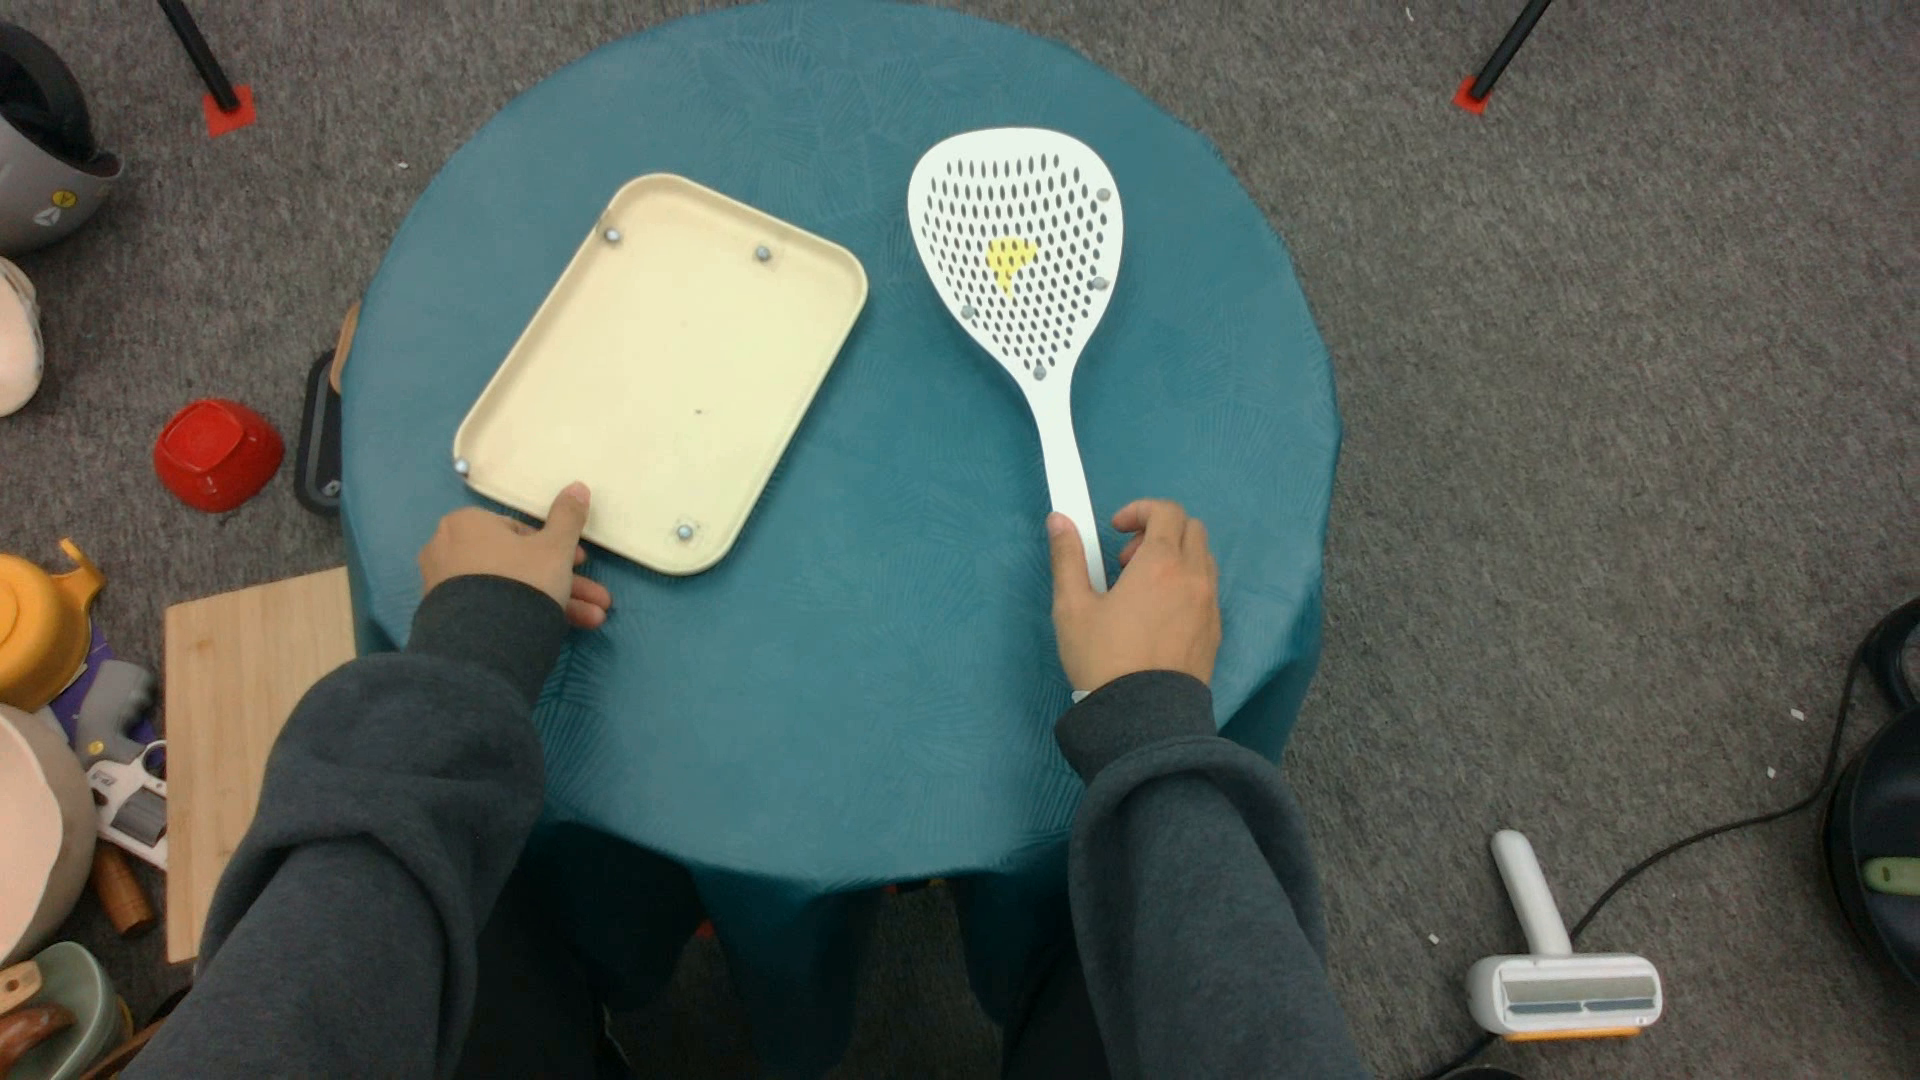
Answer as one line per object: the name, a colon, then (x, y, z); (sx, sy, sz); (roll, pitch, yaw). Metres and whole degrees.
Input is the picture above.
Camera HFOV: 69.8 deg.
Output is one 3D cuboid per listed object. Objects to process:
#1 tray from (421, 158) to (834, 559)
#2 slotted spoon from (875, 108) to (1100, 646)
tray: (-0.191, -0.112, 0.817); (0.171, 0.017, 0.240); (24, 67, 2)
slotted spoon: (0.035, -0.106, 0.830); (0.137, 0.050, 0.349); (-7, 68, -12)
